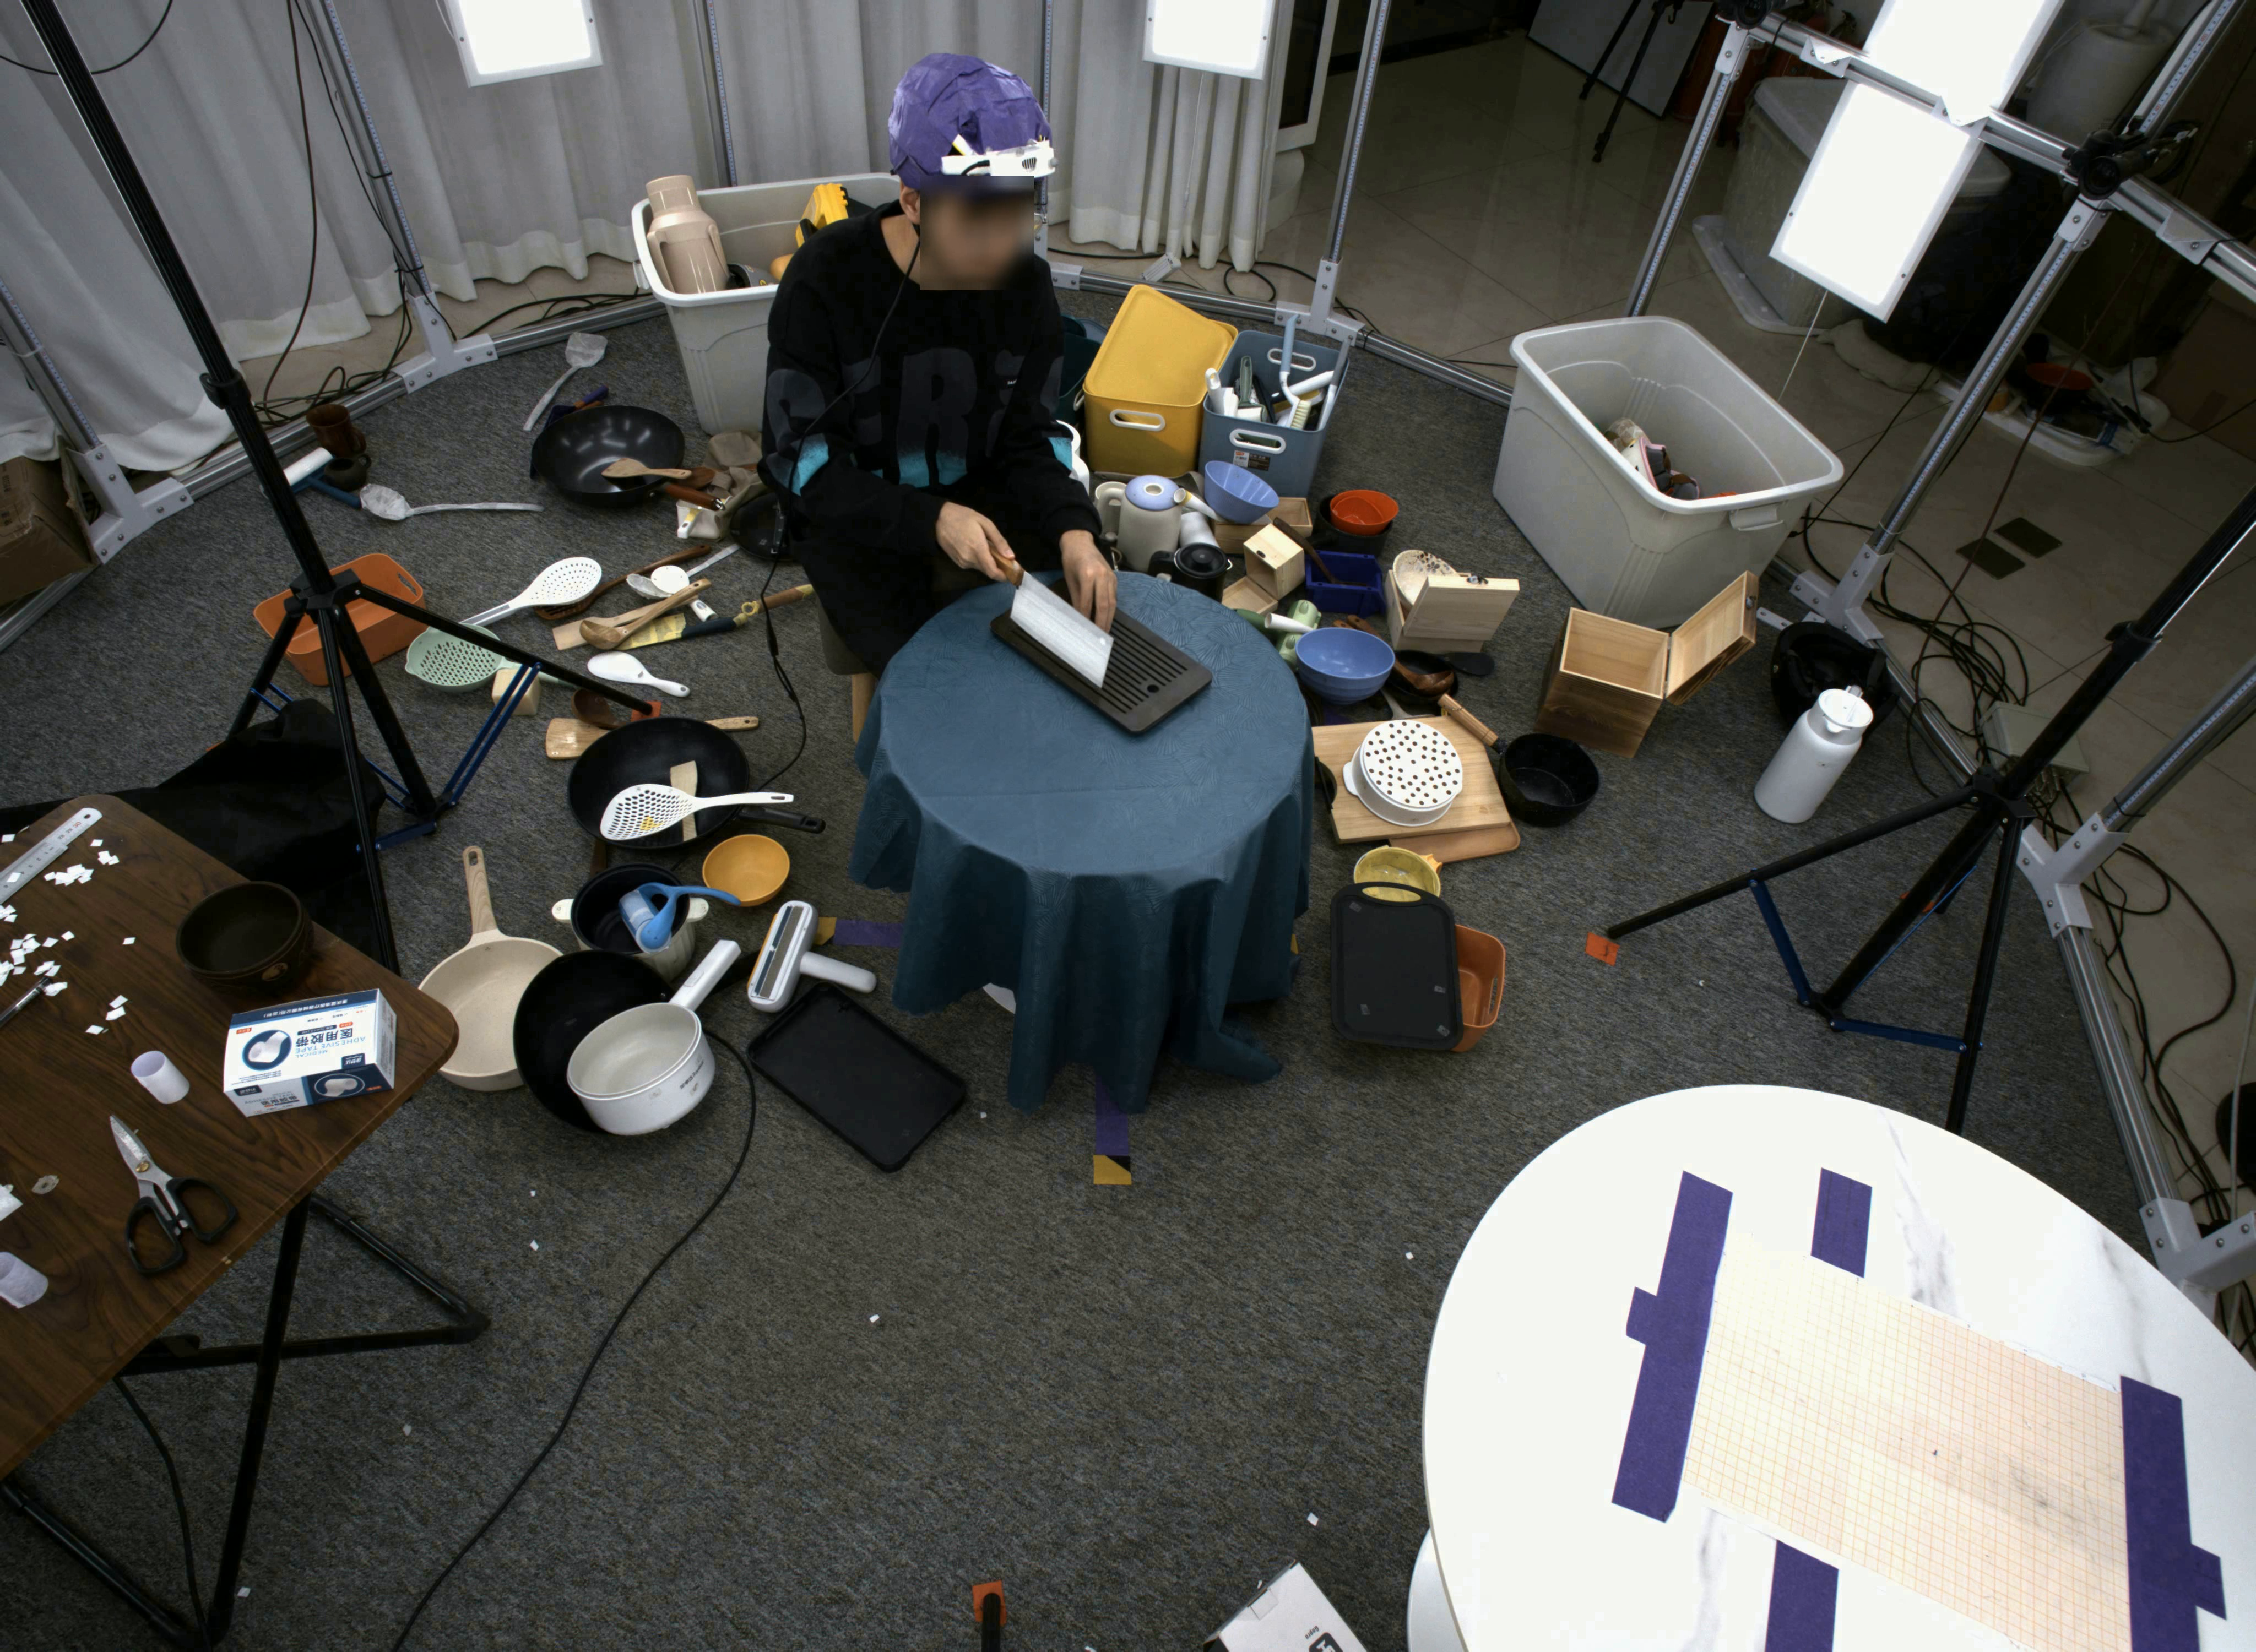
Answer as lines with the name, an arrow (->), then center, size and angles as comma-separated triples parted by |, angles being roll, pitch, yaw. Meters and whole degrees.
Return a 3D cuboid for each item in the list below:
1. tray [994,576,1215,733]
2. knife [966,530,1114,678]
tray -> -0.036, -0.254, 1.874 | 0.310, 0.018, 0.172 | 38, 57, 26
knife -> -0.130, -0.314, 1.840 | 0.021, 0.091, 0.310 | -29, 58, -37
